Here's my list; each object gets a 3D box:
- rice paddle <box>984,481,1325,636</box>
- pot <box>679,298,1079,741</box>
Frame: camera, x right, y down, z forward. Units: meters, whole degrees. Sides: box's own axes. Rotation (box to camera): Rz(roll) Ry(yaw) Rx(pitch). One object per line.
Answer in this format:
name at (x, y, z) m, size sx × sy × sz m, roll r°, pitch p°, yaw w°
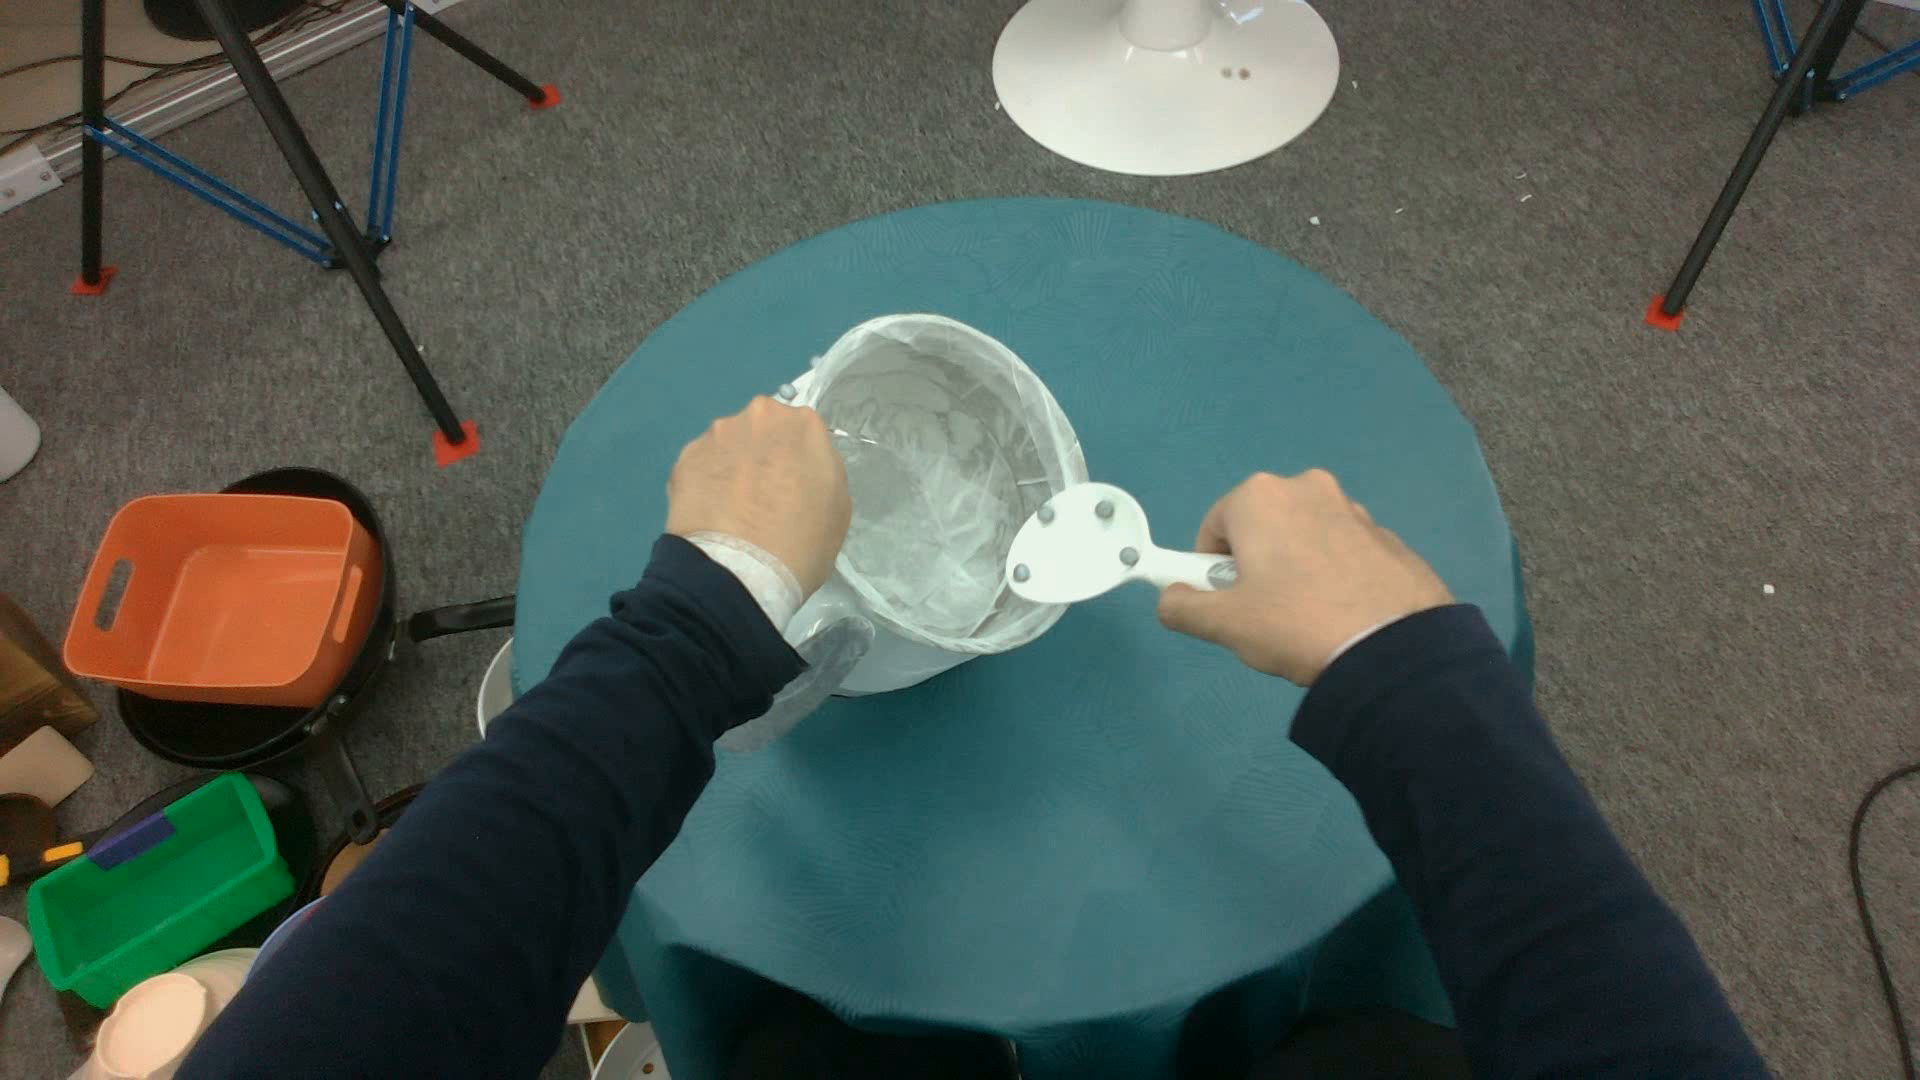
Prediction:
rice paddle at (0.075, 0.008, 0.617) m, size 0.205 × 0.029 × 0.069 m, roll 14°, pitch 66°, yaw 55°
pot at (-0.056, -0.001, 0.714) m, size 0.178 × 0.136 × 0.235 m, roll 41°, pitch 54°, yaw -16°
